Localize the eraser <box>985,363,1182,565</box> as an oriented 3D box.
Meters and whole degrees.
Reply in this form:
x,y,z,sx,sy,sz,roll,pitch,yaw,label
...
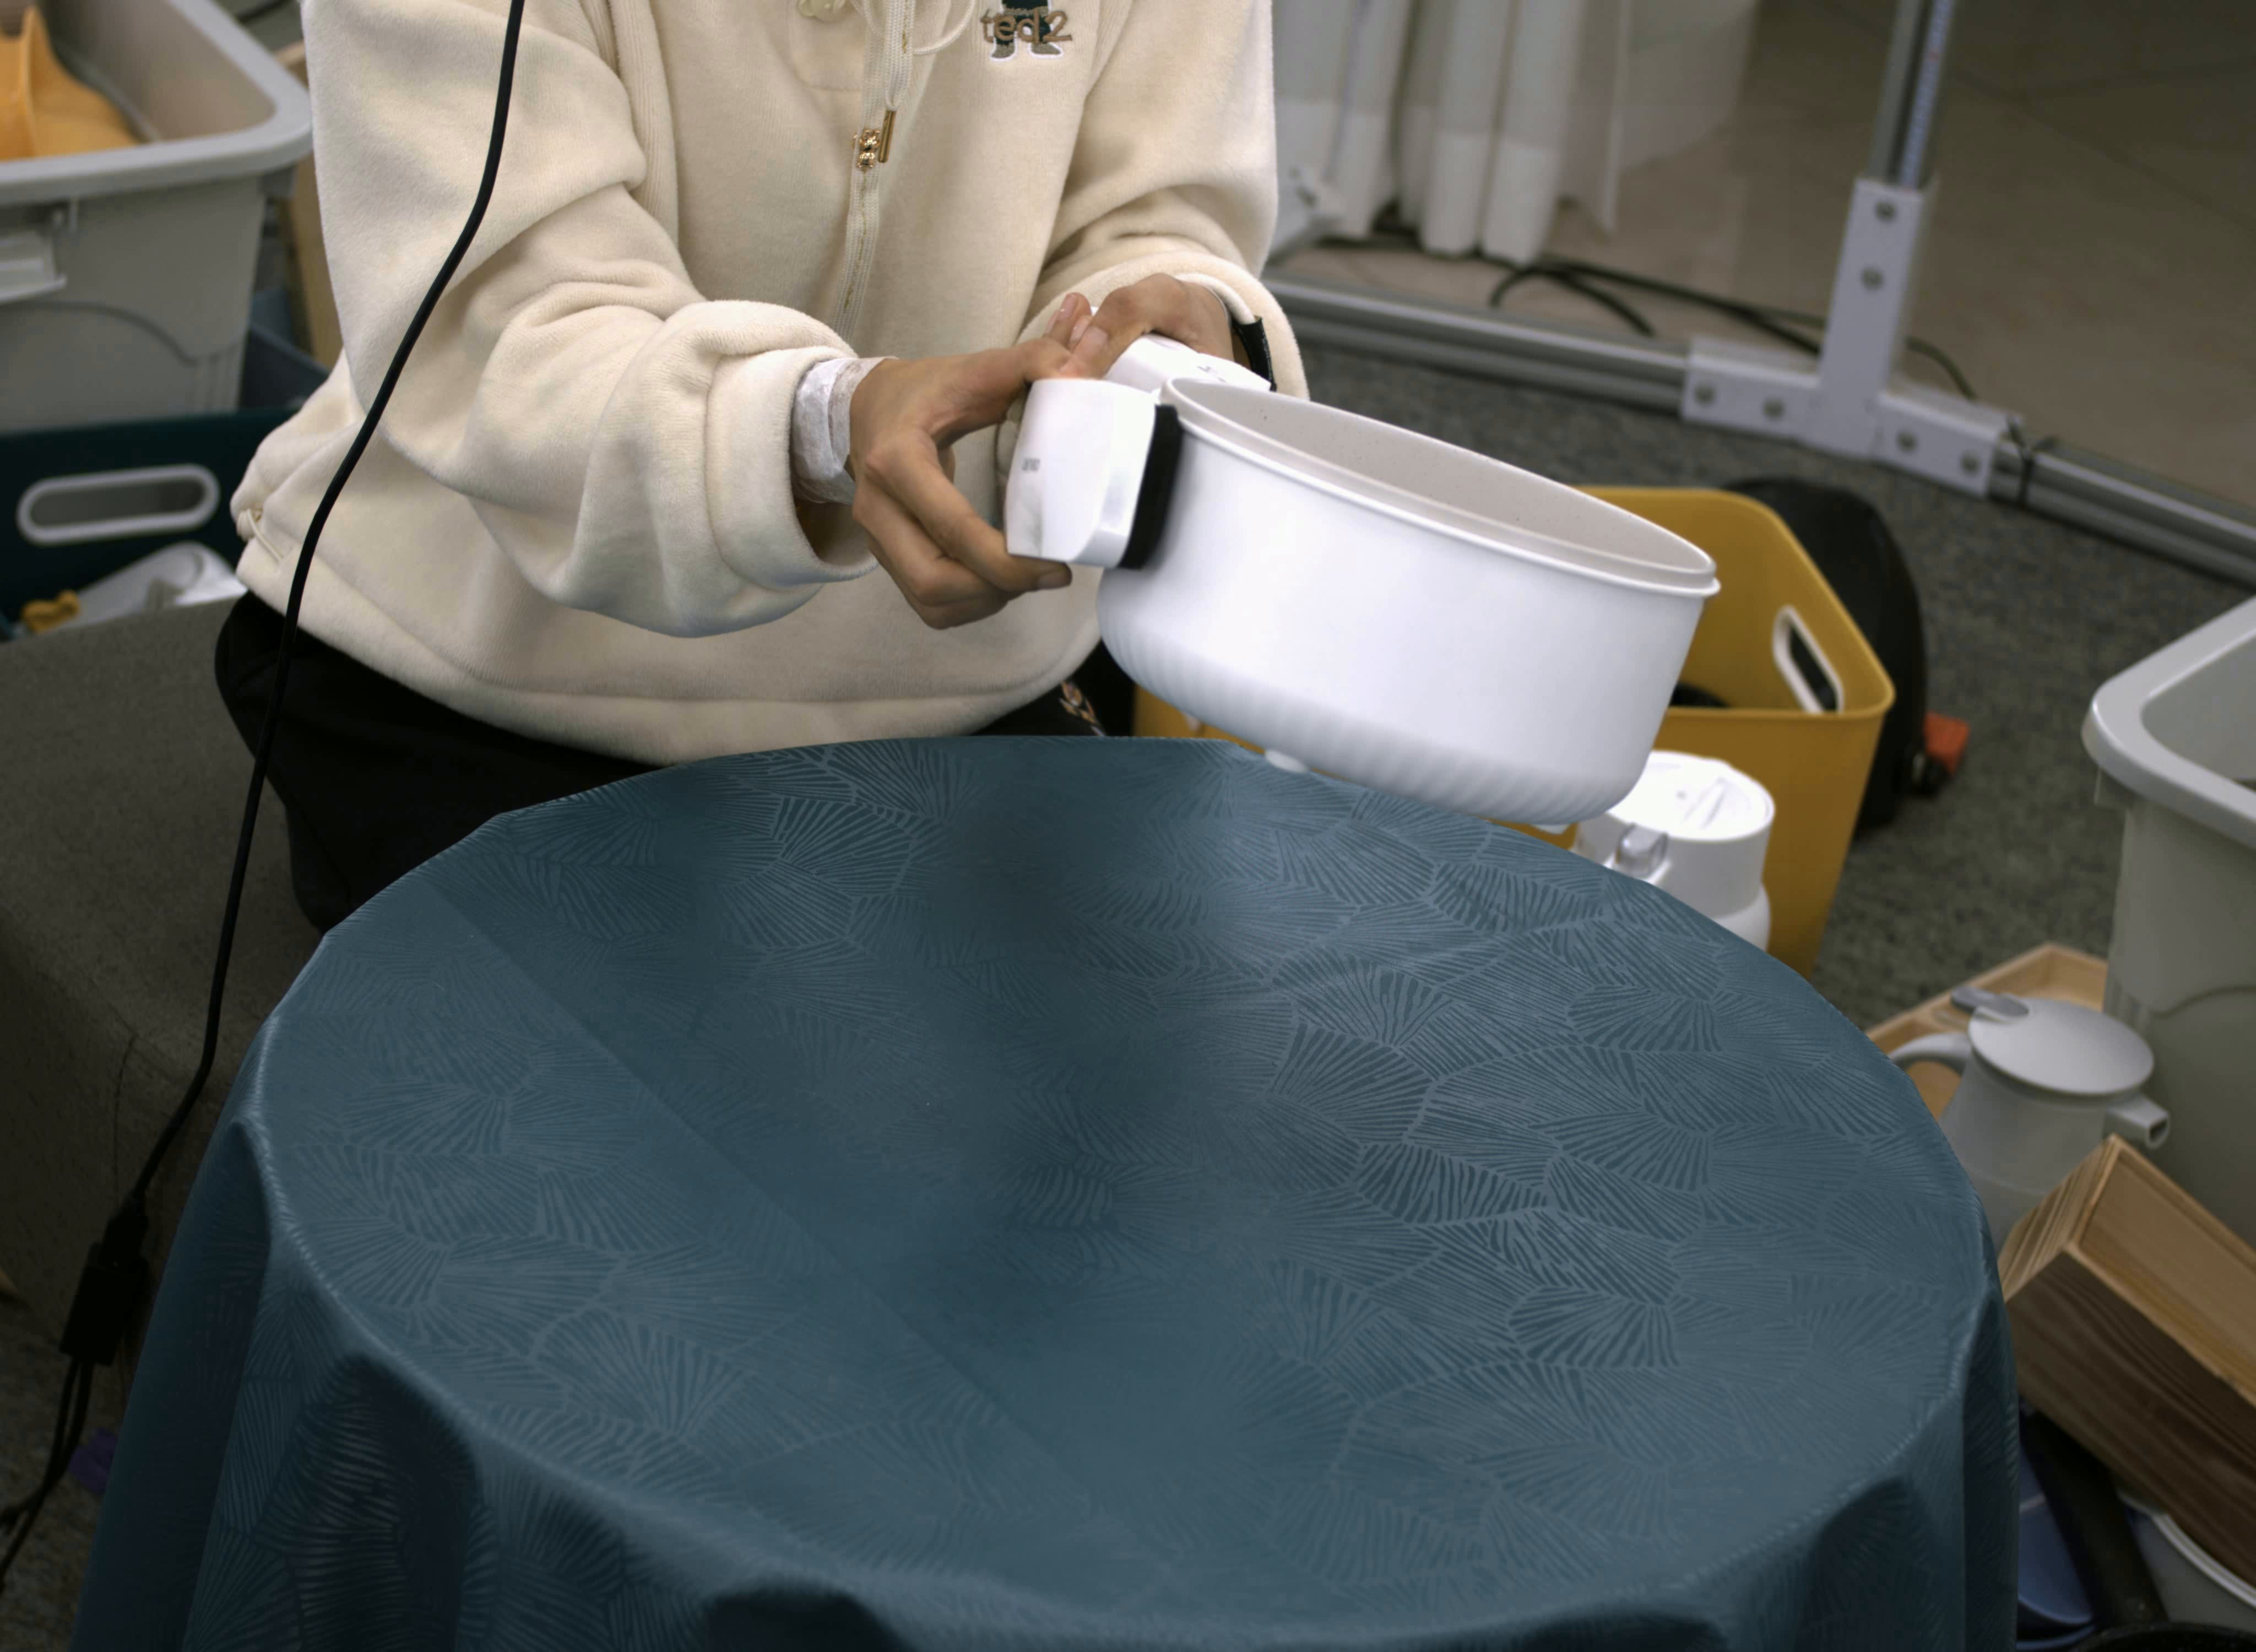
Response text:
x,y,z,sx,sy,sz,roll,pitch,yaw,label
-0.018,-0.120,1.781,0.034,0.063,0.132,15,0,-16,eraser

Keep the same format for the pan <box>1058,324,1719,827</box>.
x,y,z,sx,sy,sz,roll,pitch,yaw,label
0.055,-0.094,1.852,0.199,0.102,0.357,14,9,-29,pan
